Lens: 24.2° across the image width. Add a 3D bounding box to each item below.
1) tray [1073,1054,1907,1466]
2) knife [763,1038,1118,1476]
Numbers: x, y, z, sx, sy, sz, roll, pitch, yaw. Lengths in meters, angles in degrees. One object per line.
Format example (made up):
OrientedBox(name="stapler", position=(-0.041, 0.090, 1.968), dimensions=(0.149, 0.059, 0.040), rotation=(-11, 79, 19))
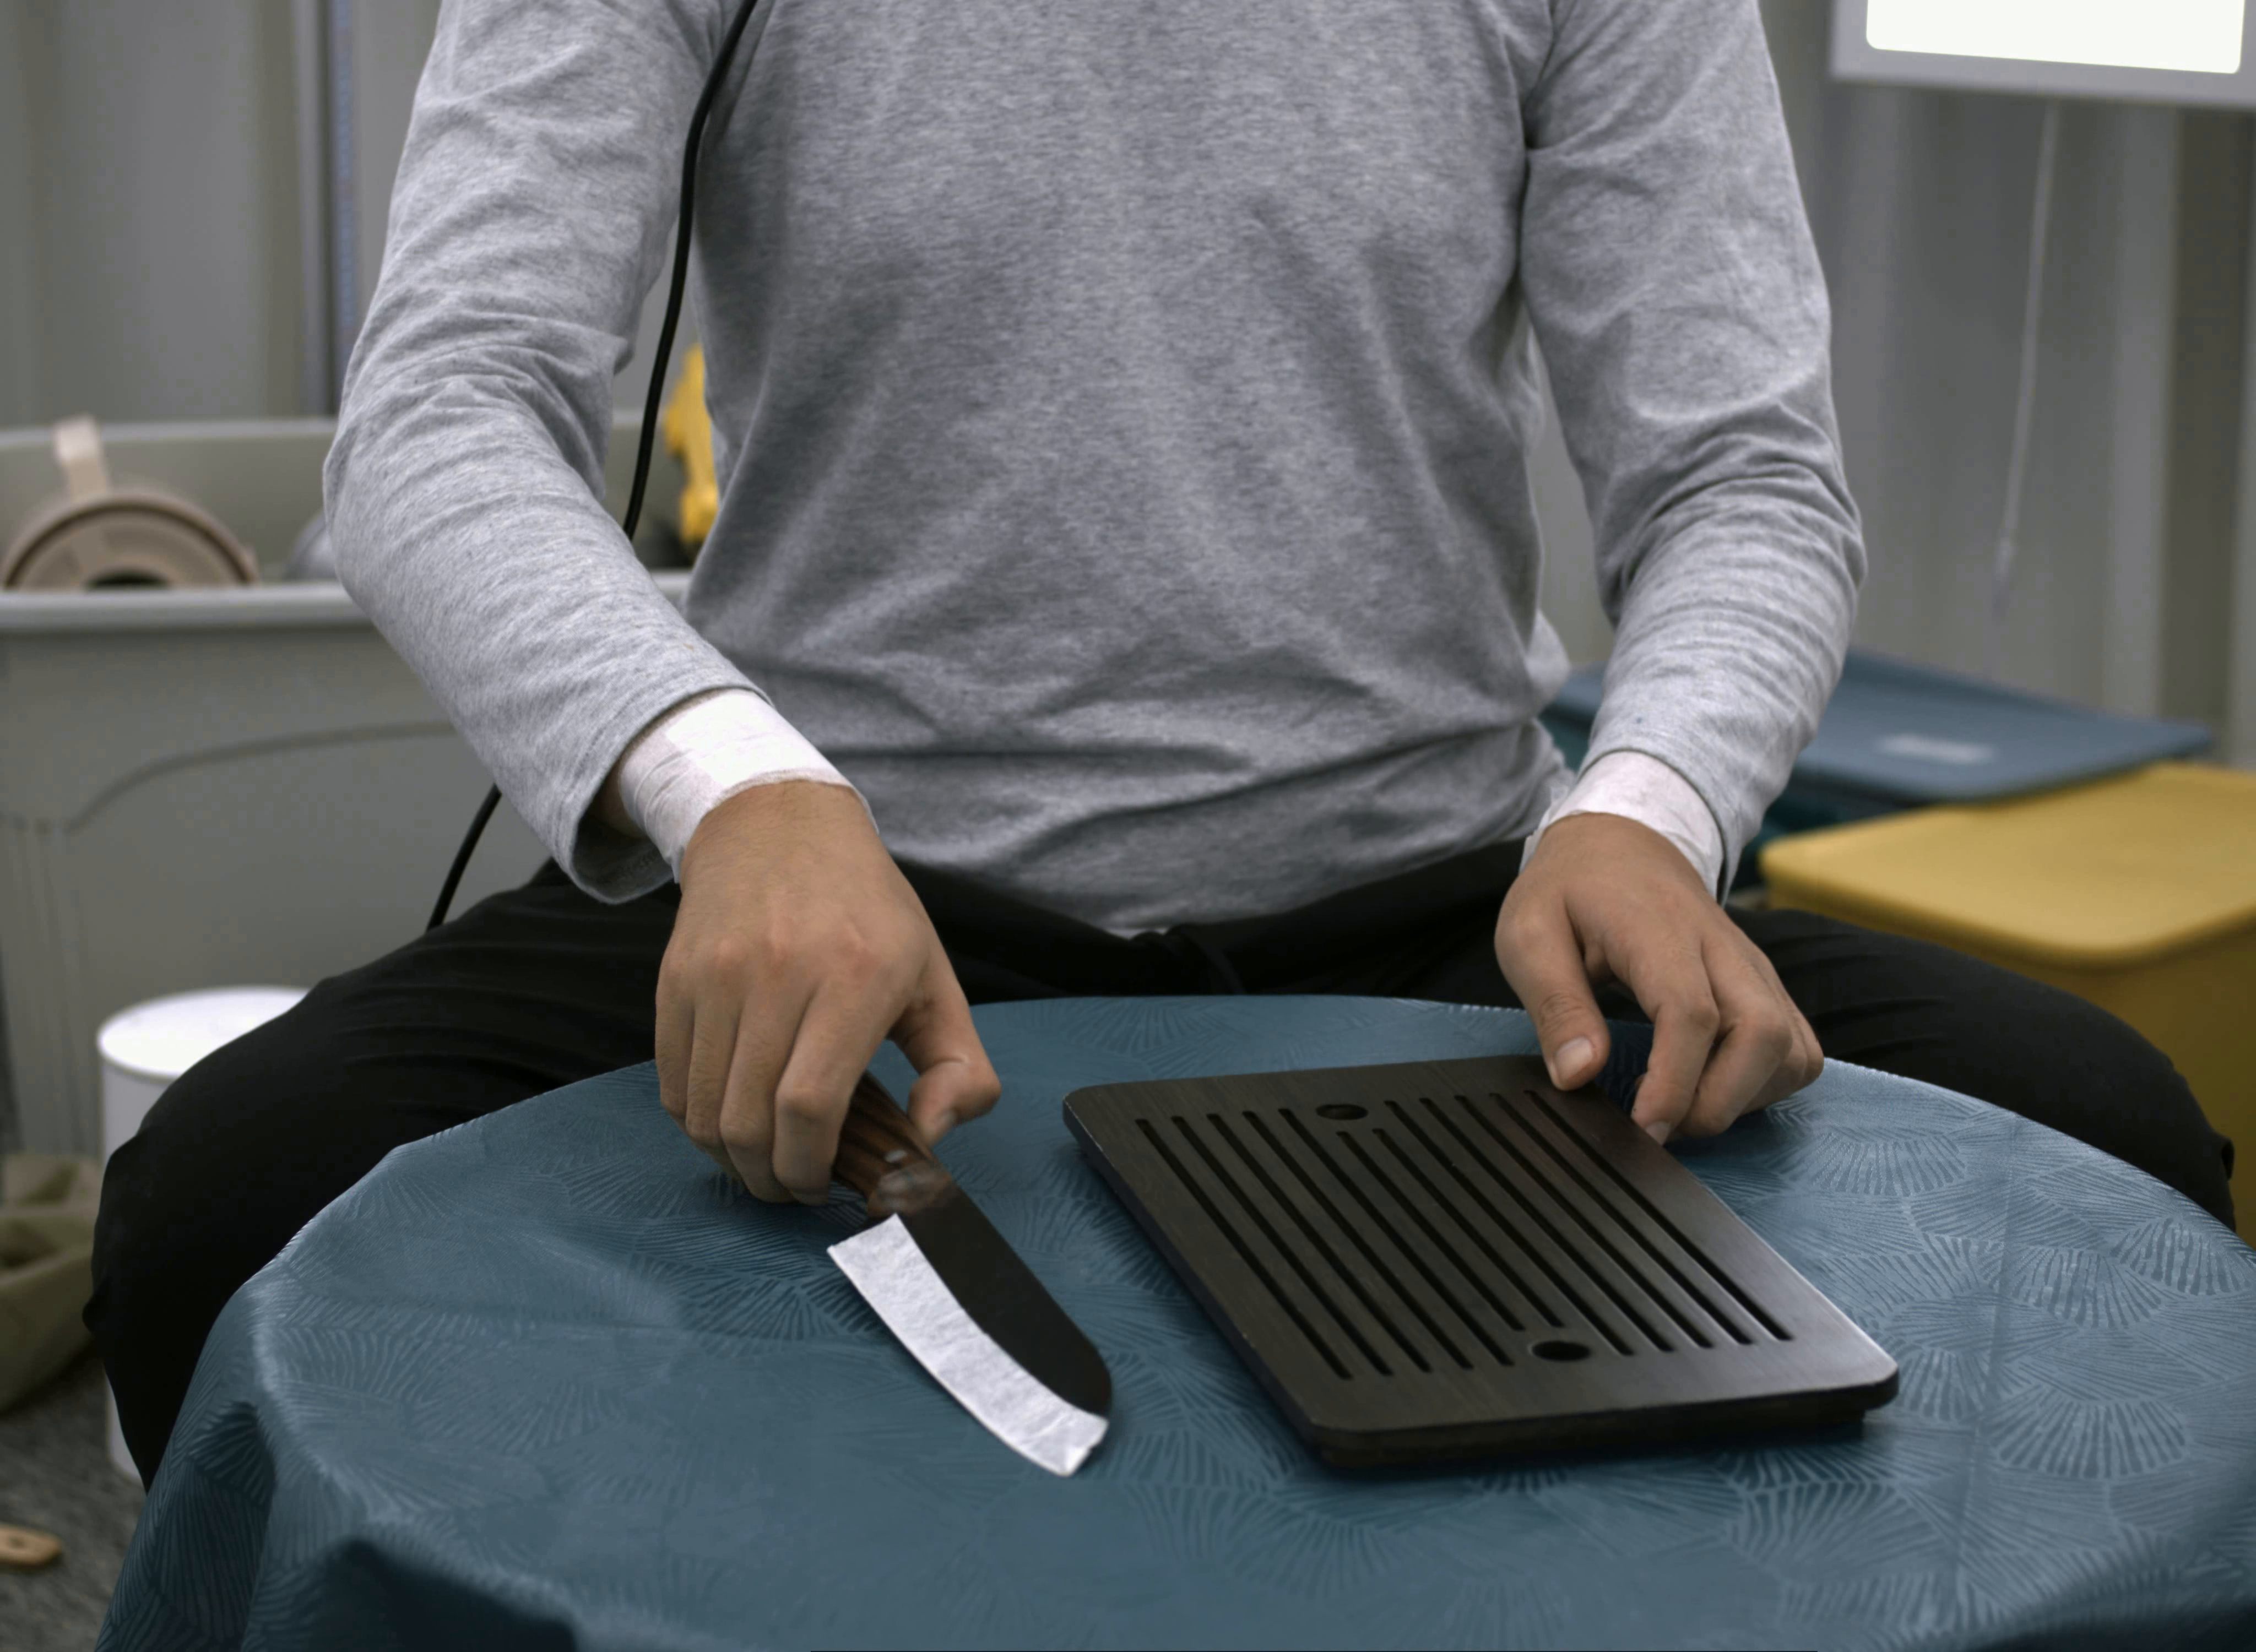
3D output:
OrientedBox(name="tray", position=(0.098, 0.124, 1.553), dimensions=(0.170, 0.019, 0.303), rotation=(-3, 15, -13))
OrientedBox(name="knife", position=(-0.059, 0.123, 1.528), dimensions=(0.050, 0.020, 0.286), rotation=(-22, 26, -10))
